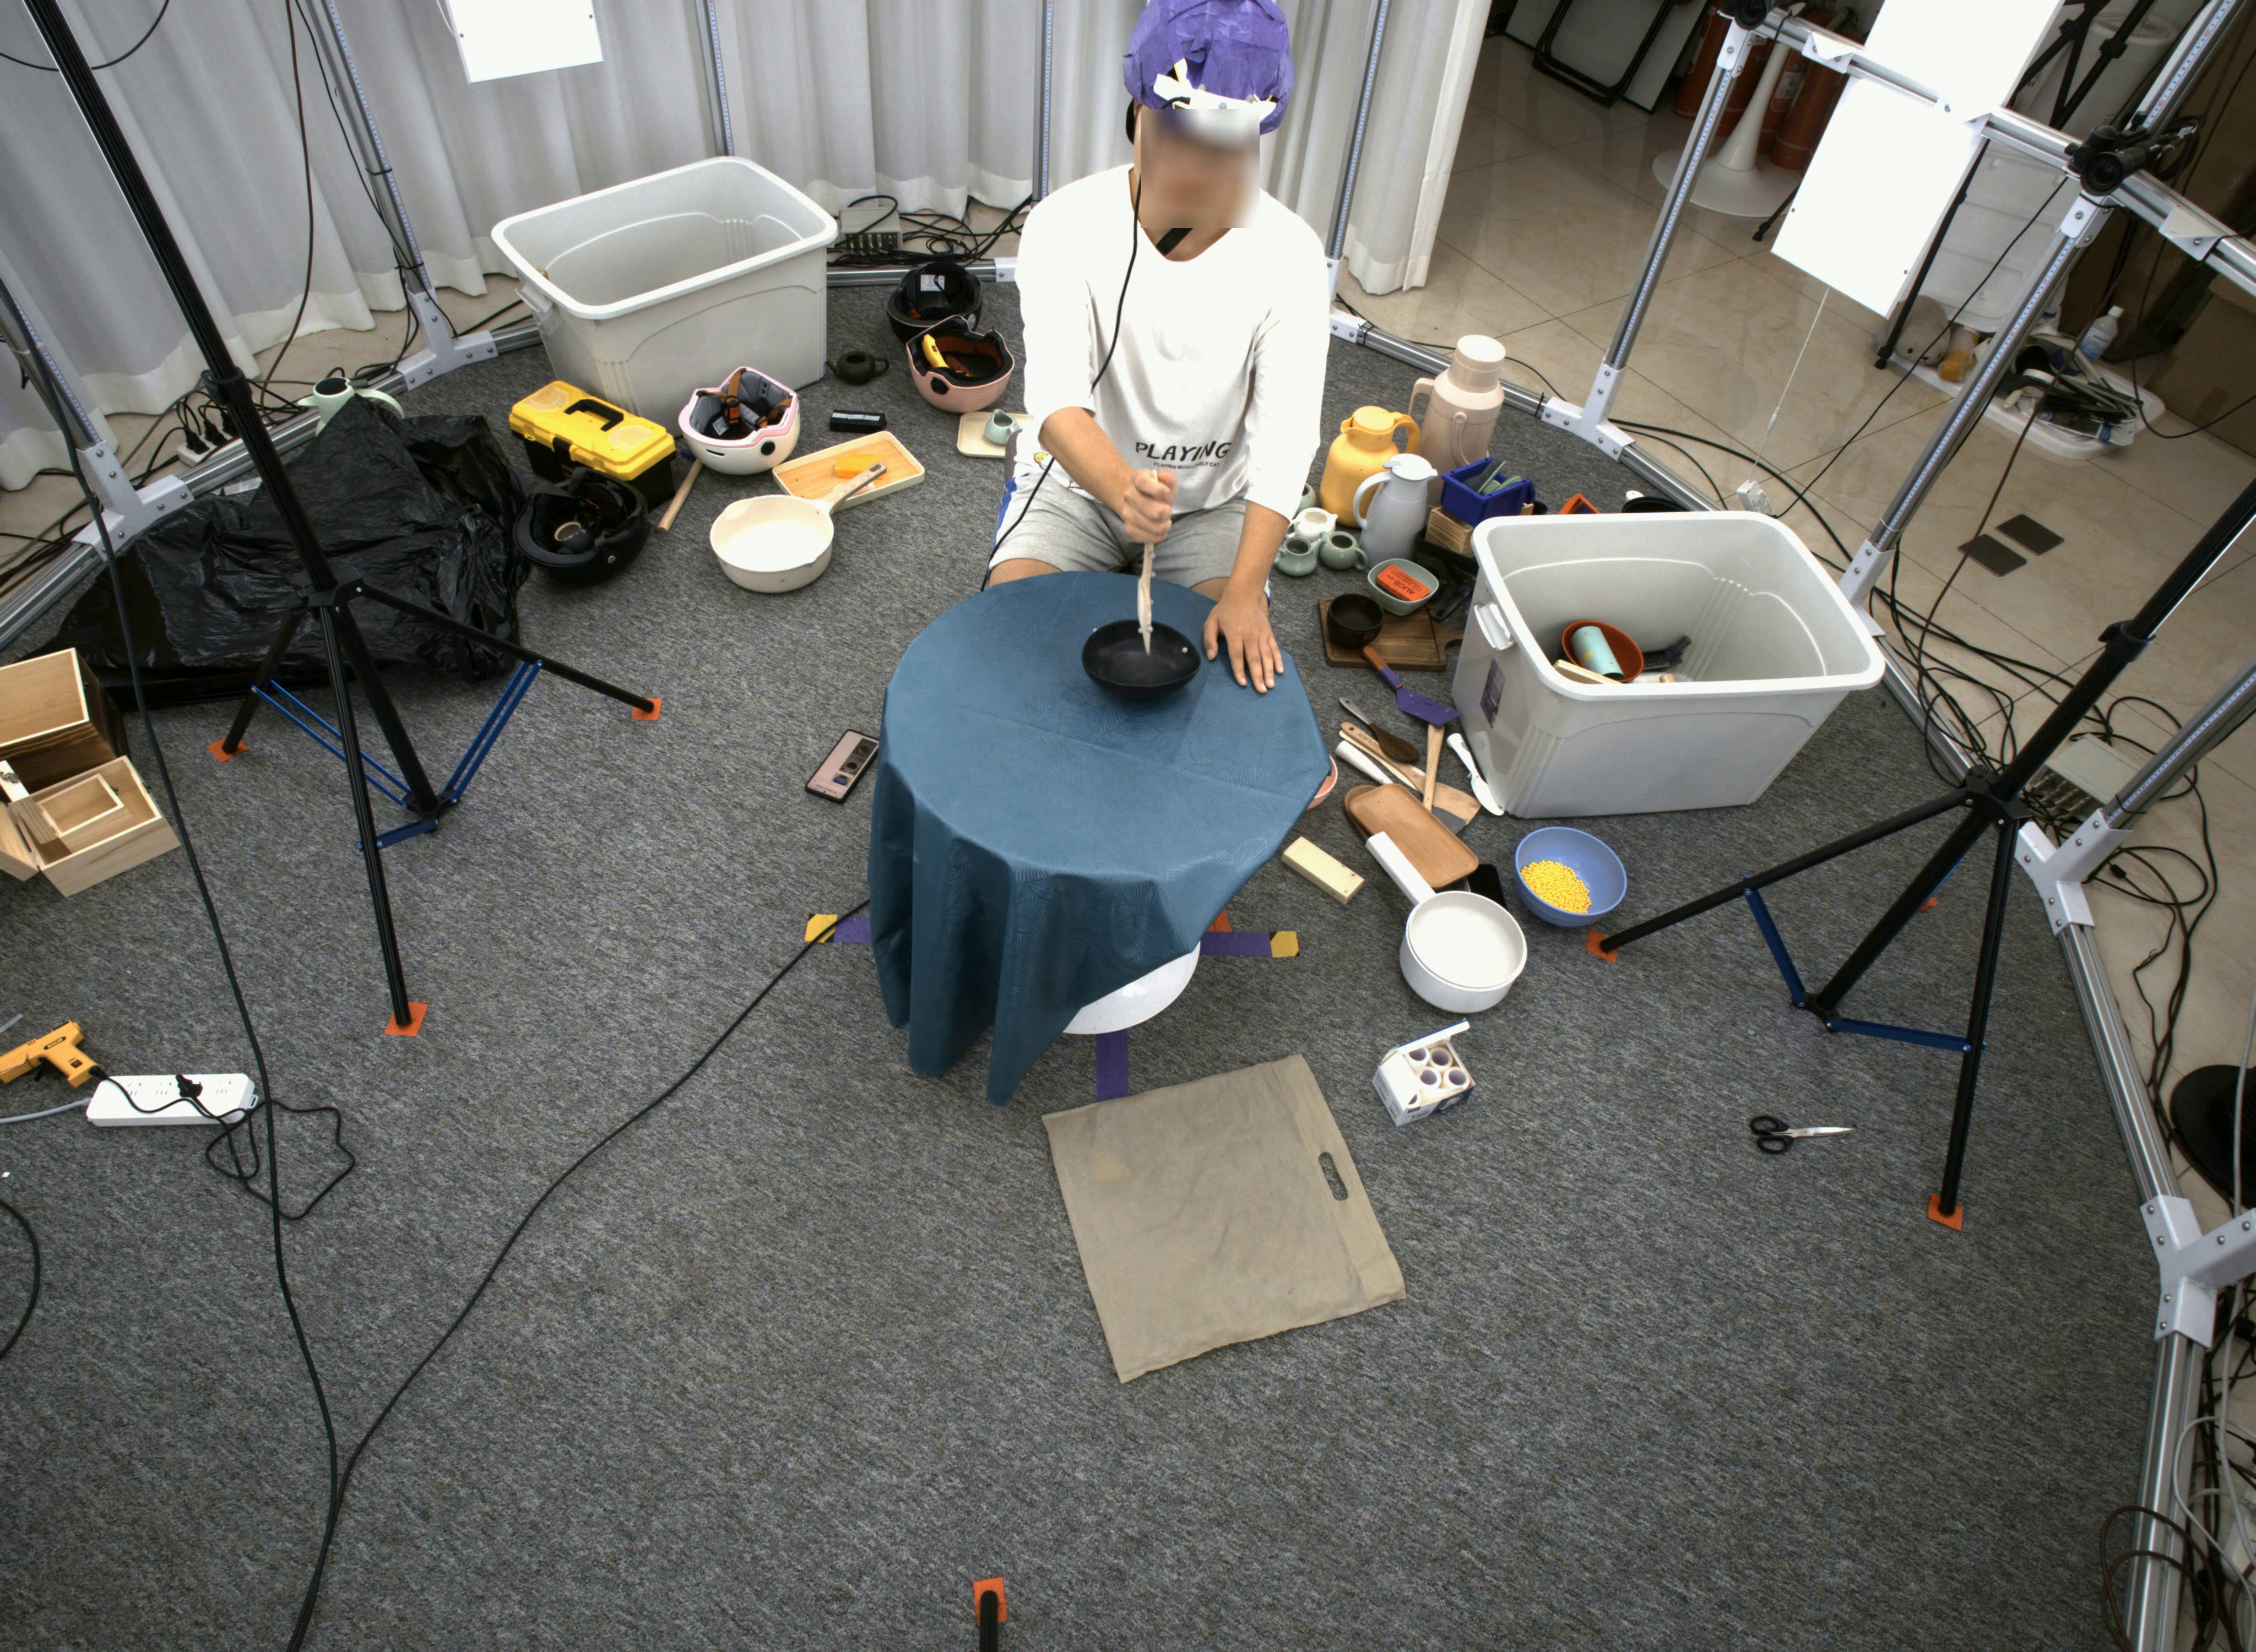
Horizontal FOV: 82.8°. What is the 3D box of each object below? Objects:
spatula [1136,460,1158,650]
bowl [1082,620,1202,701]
[{"bbox_3d":[0.025,-0.350,1.670,0.010,0.286,0.074,-5,54,-7],"label":"spatula"},{"bbox_3d":[0.018,-0.225,1.820,0.170,0.065,0.141,-3,49,-10],"label":"bowl"}]
